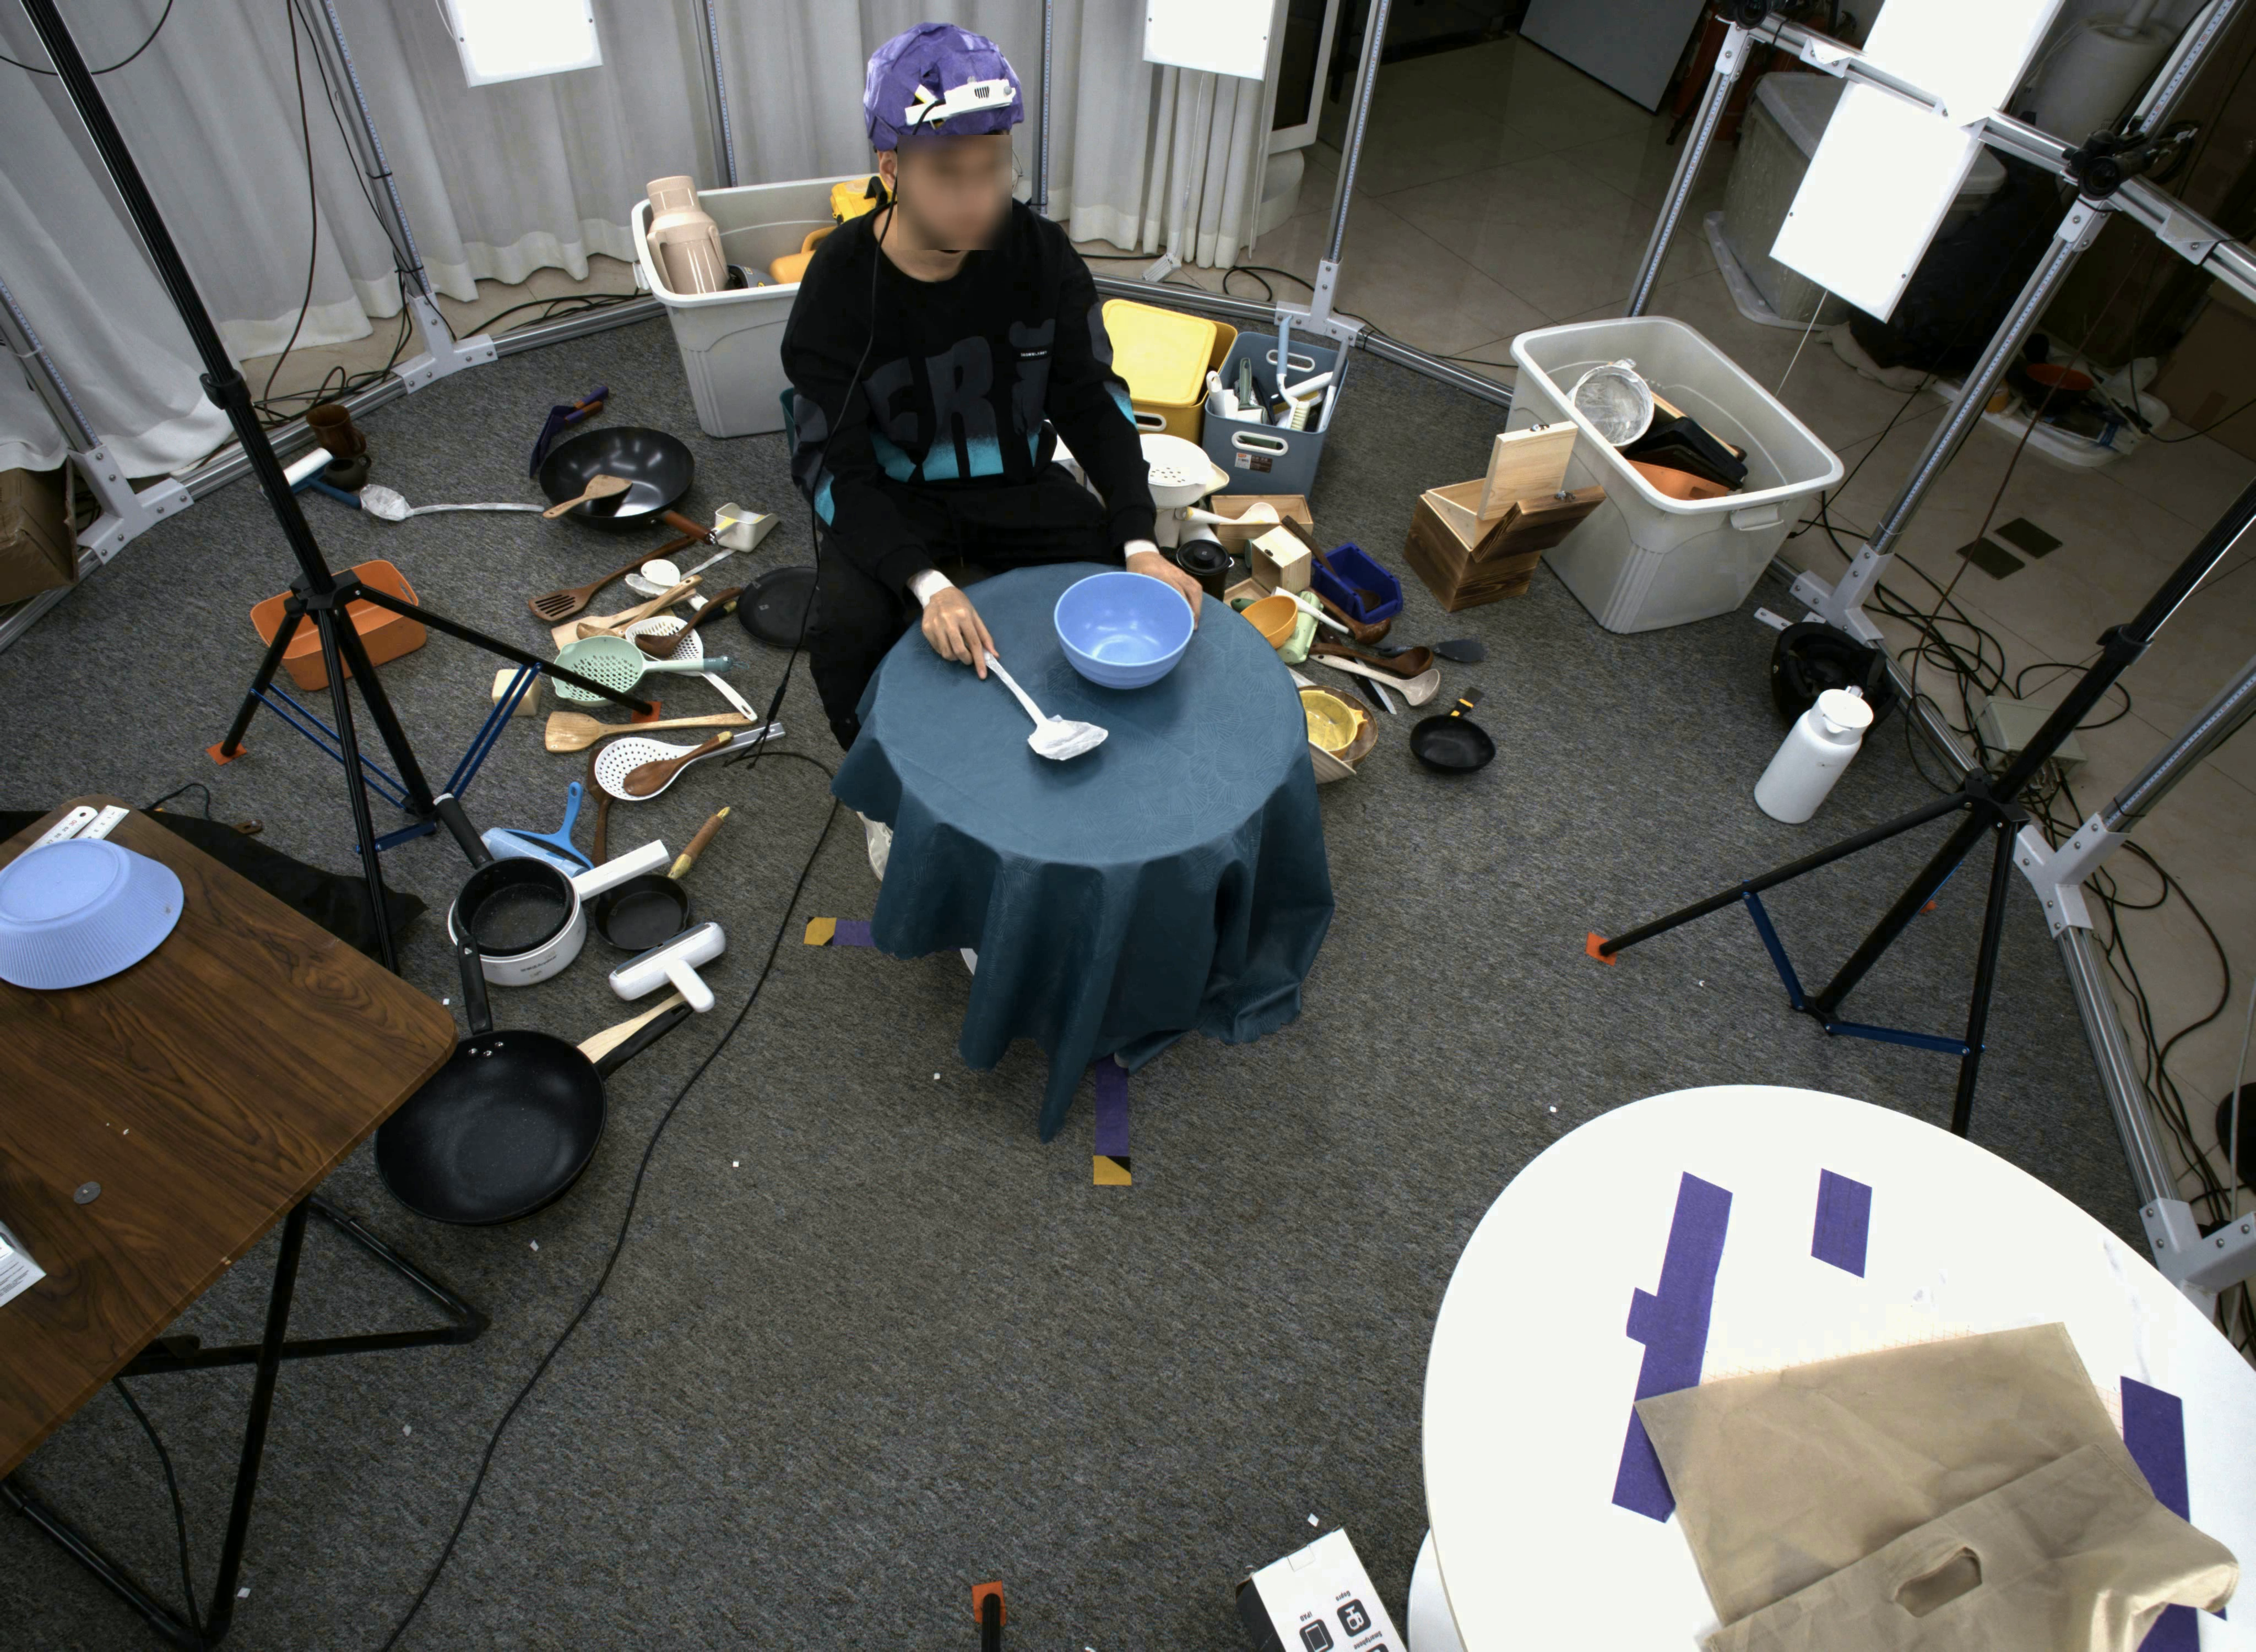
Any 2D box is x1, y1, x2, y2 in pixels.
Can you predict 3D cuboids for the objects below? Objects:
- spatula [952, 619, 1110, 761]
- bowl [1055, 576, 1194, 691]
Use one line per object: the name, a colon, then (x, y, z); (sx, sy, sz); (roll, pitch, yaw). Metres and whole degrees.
spatula: (-0.159, -0.204, 1.827); (0.099, 0.044, 0.372); (-26, 55, -24)
bowl: (-0.006, -0.263, 1.852); (0.196, 0.093, 0.201); (1, 49, -2)
